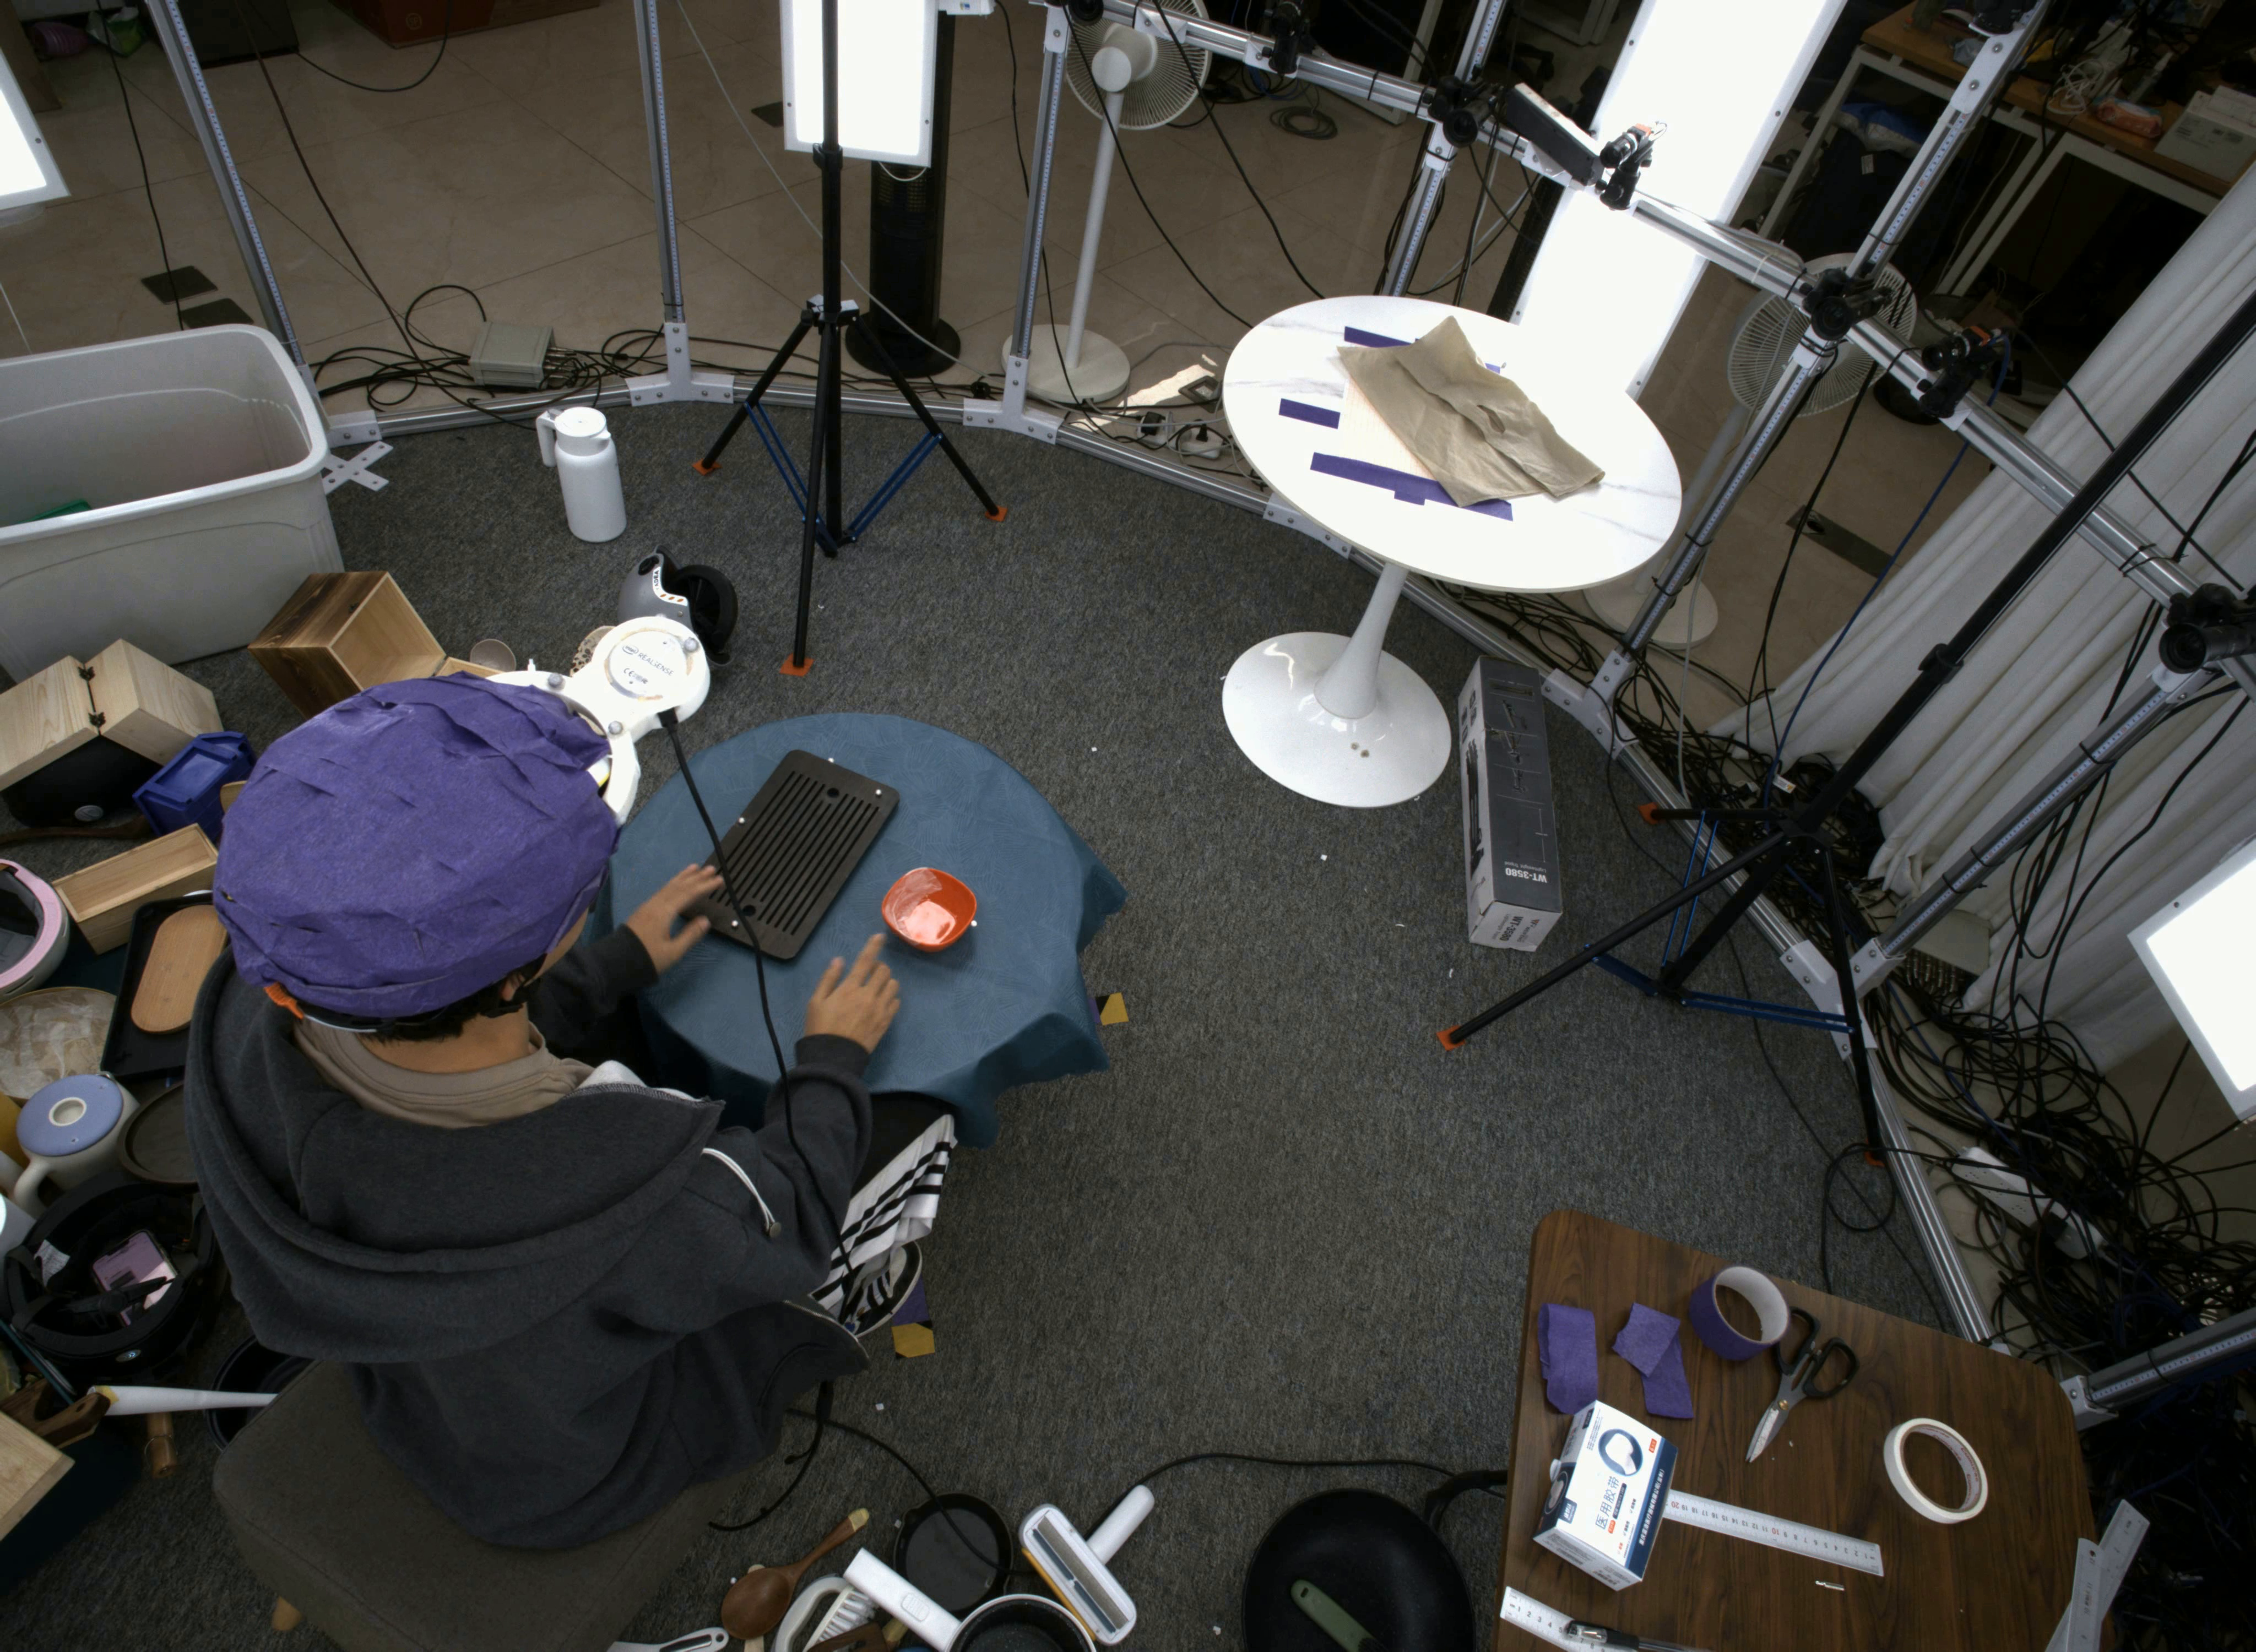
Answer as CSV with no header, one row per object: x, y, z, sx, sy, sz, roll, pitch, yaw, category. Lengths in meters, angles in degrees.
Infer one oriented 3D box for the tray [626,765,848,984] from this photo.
-0.497,0.055,1.657,0.168,0.019,0.303,21,52,1,tray

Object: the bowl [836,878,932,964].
-0.306,0.126,1.630,0.119,0.052,0.117,9,51,-9,bowl
